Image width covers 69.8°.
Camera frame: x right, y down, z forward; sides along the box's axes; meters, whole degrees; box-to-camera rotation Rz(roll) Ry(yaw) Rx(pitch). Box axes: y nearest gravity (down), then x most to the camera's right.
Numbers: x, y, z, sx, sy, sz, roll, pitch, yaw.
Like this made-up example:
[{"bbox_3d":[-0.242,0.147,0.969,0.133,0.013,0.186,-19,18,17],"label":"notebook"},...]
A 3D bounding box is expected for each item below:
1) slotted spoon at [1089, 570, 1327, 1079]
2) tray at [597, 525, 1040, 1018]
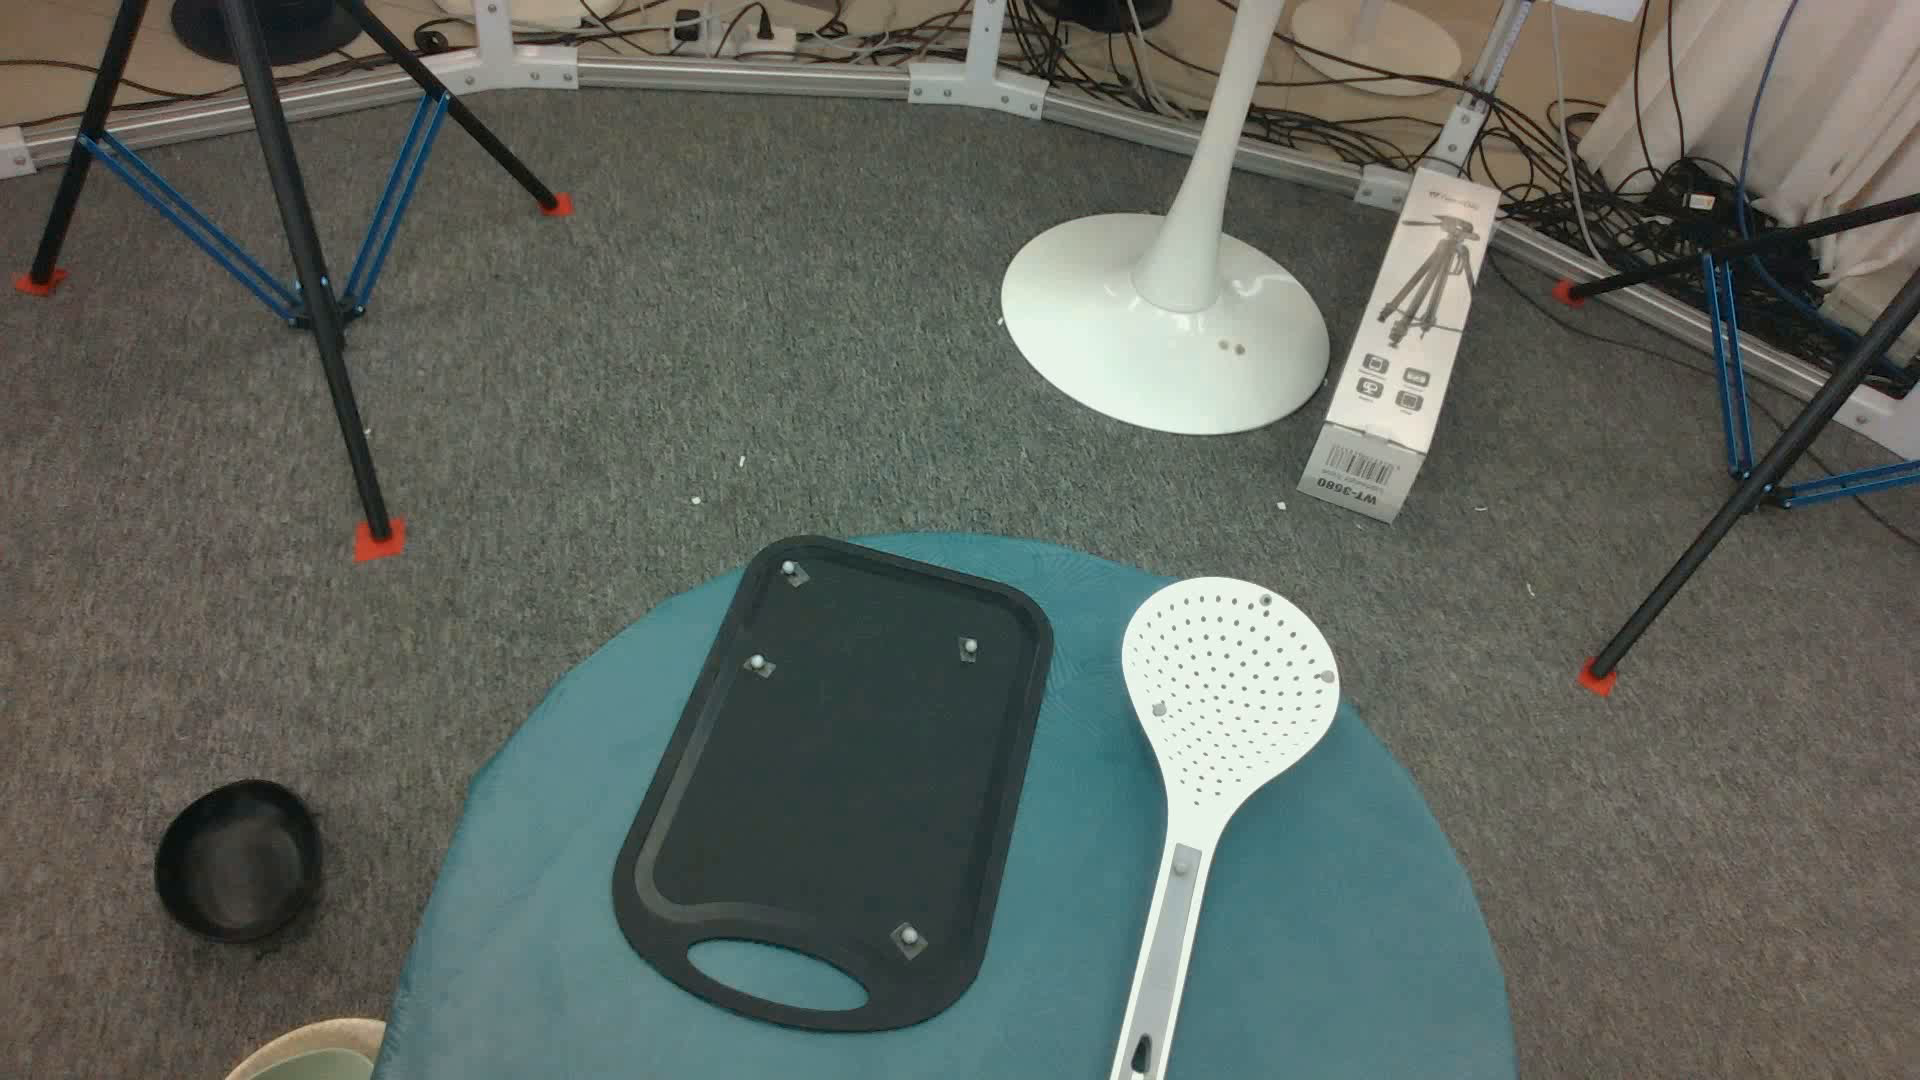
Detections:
[{"bbox_3d":[0.129,0.160,0.802,0.136,0.045,0.351,17,49,7],"label":"slotted spoon"},{"bbox_3d":[-0.074,0.124,0.820,0.211,0.010,0.327,15,49,2],"label":"tray"}]
